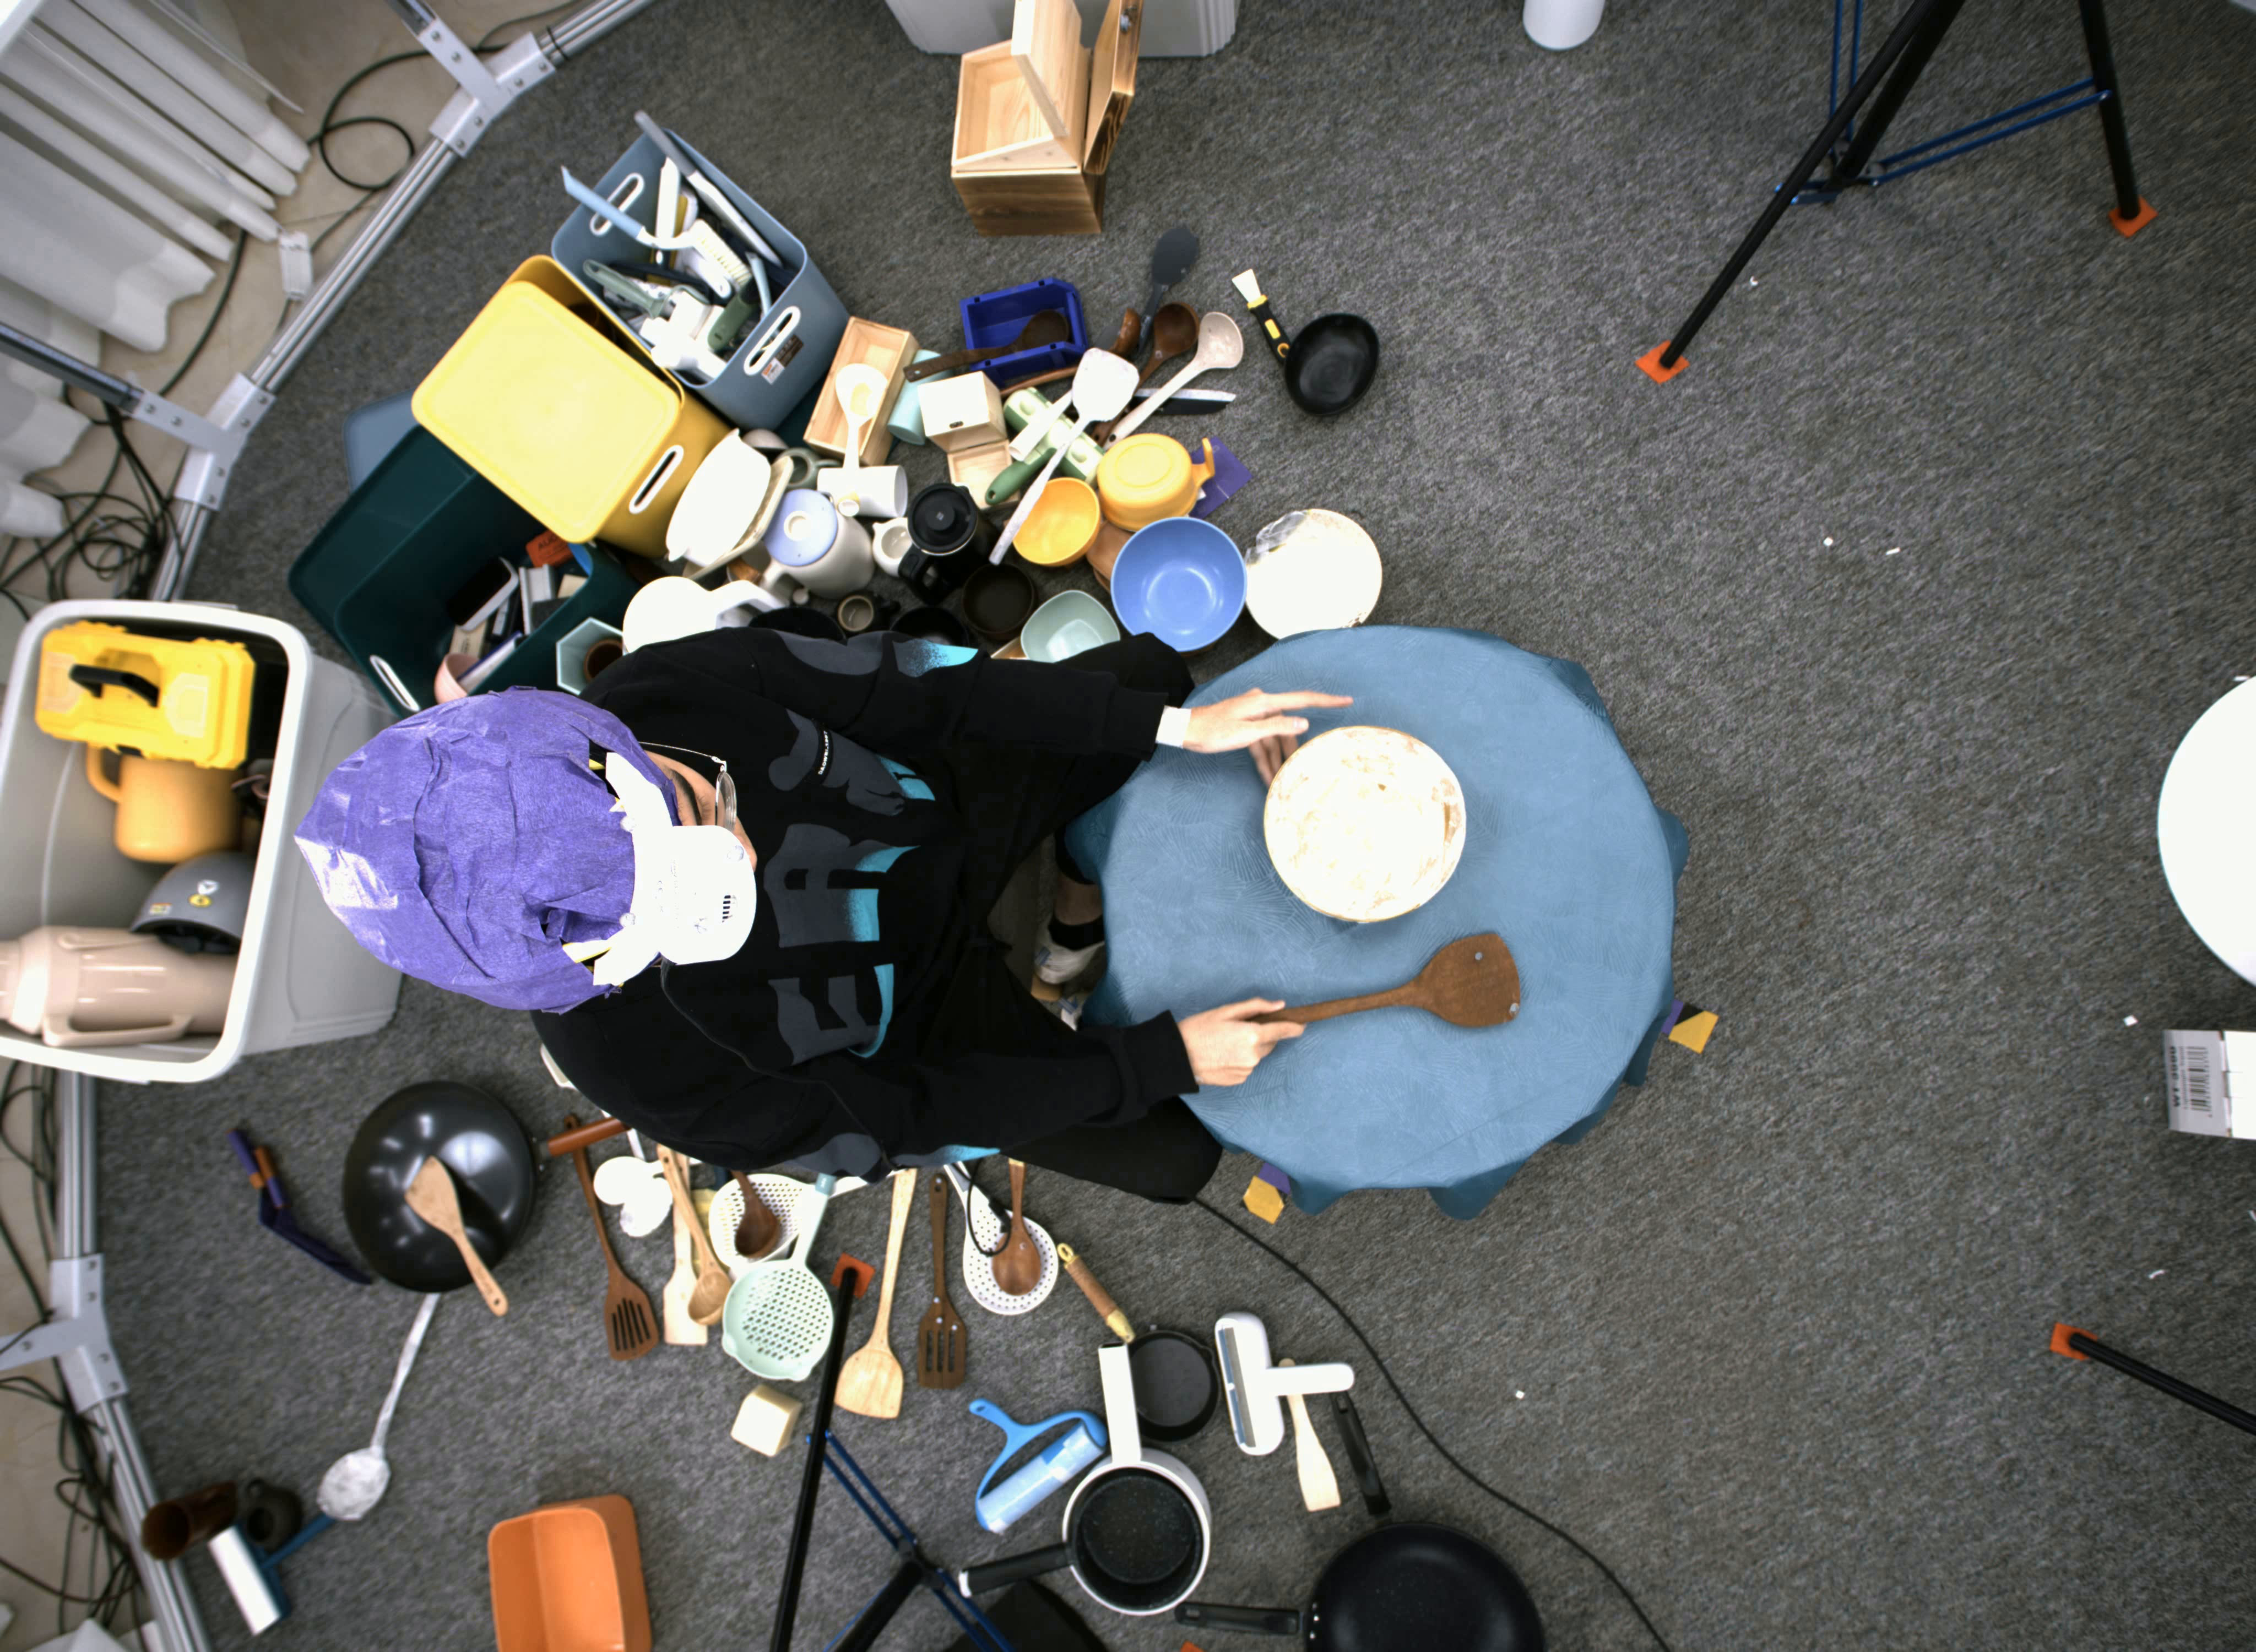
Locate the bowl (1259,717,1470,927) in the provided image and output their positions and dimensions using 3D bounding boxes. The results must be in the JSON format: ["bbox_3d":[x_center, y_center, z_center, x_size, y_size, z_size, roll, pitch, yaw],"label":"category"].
[{"bbox_3d":[0.244,-0.001,1.427,0.215,0.094,0.214,-1,87,11],"label":"bowl"}]

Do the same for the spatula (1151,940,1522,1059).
[{"bbox_3d":[0.214,0.193,1.428,0.386,0.016,0.095,-11,79,1],"label":"spatula"}]
